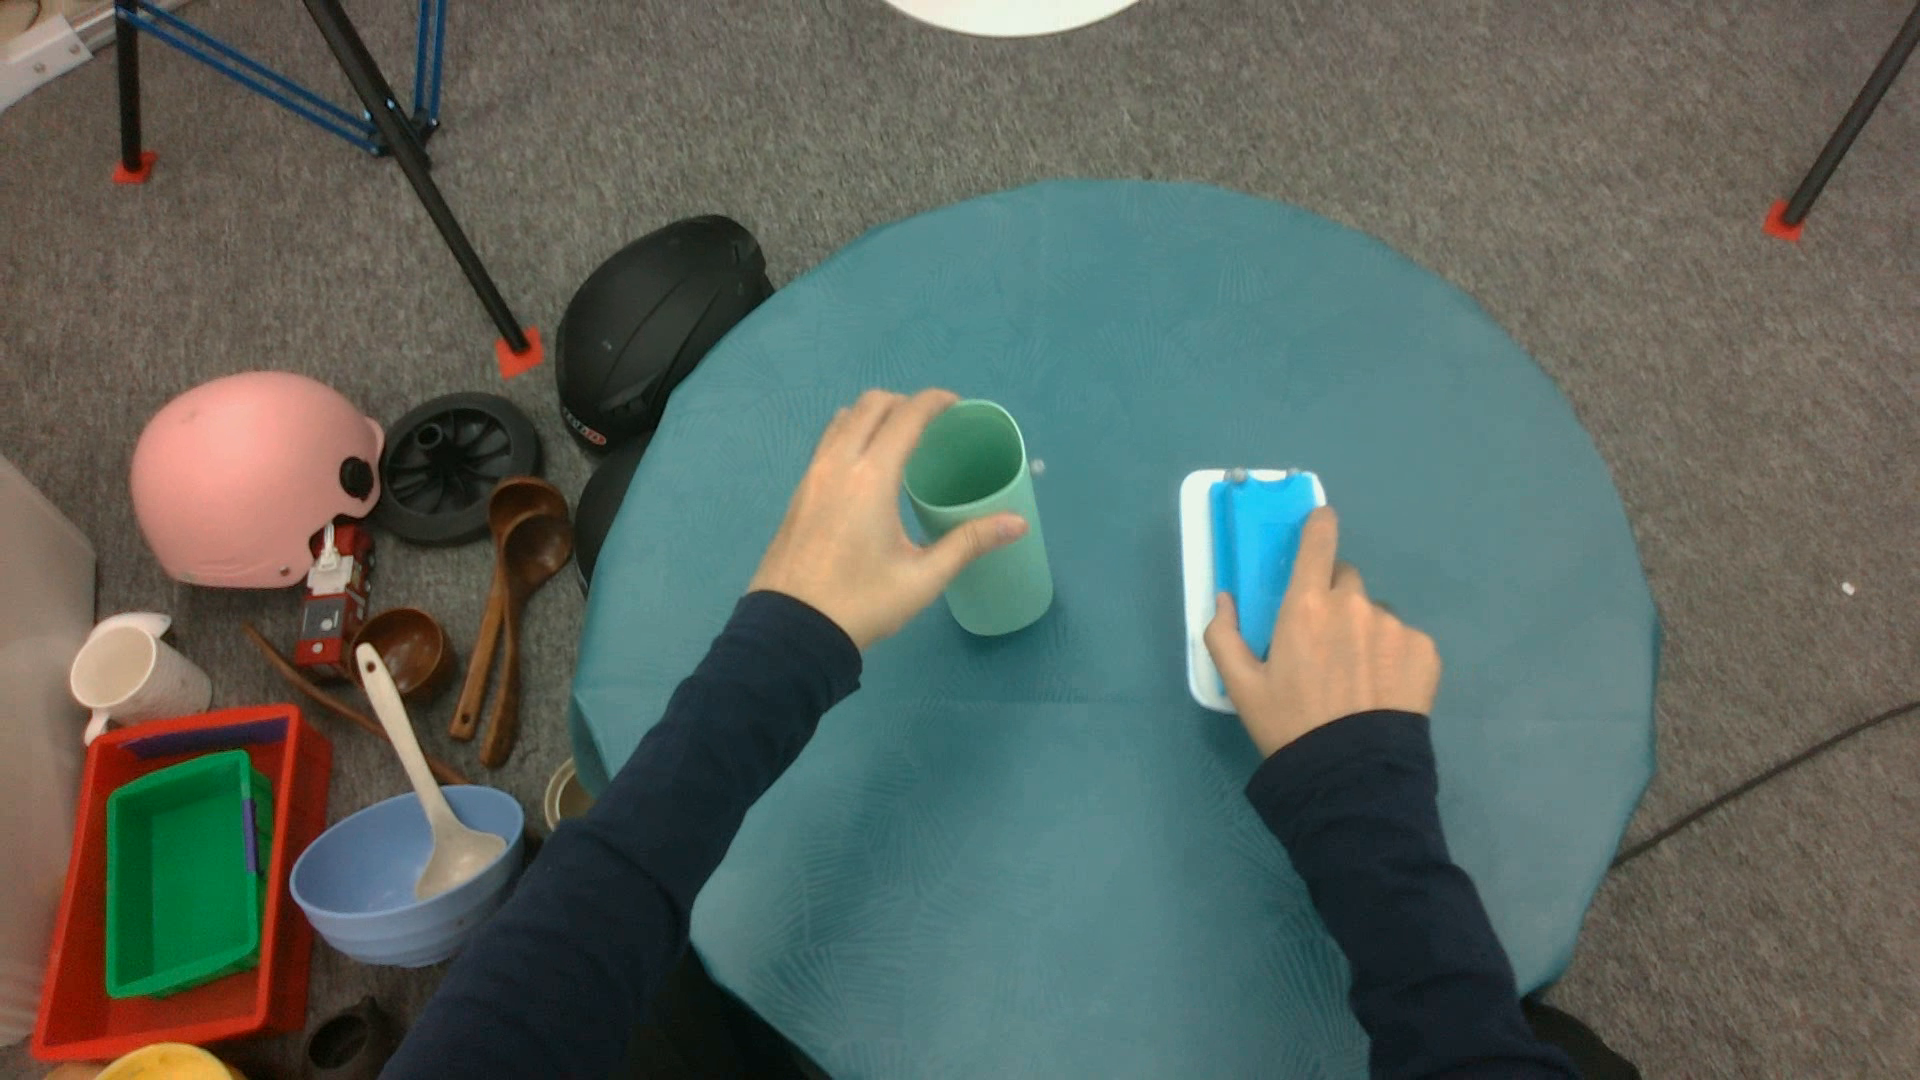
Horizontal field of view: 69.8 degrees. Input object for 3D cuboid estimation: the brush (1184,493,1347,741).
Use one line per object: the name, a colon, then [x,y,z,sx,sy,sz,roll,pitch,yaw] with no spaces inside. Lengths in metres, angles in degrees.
brush: [0.163,0.033,0.734,0.084,0.055,0.144,2,61,5]

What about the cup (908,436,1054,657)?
cup: [0.015,0.008,0.743,0.066,0.132,0.067,-5,58,8]
